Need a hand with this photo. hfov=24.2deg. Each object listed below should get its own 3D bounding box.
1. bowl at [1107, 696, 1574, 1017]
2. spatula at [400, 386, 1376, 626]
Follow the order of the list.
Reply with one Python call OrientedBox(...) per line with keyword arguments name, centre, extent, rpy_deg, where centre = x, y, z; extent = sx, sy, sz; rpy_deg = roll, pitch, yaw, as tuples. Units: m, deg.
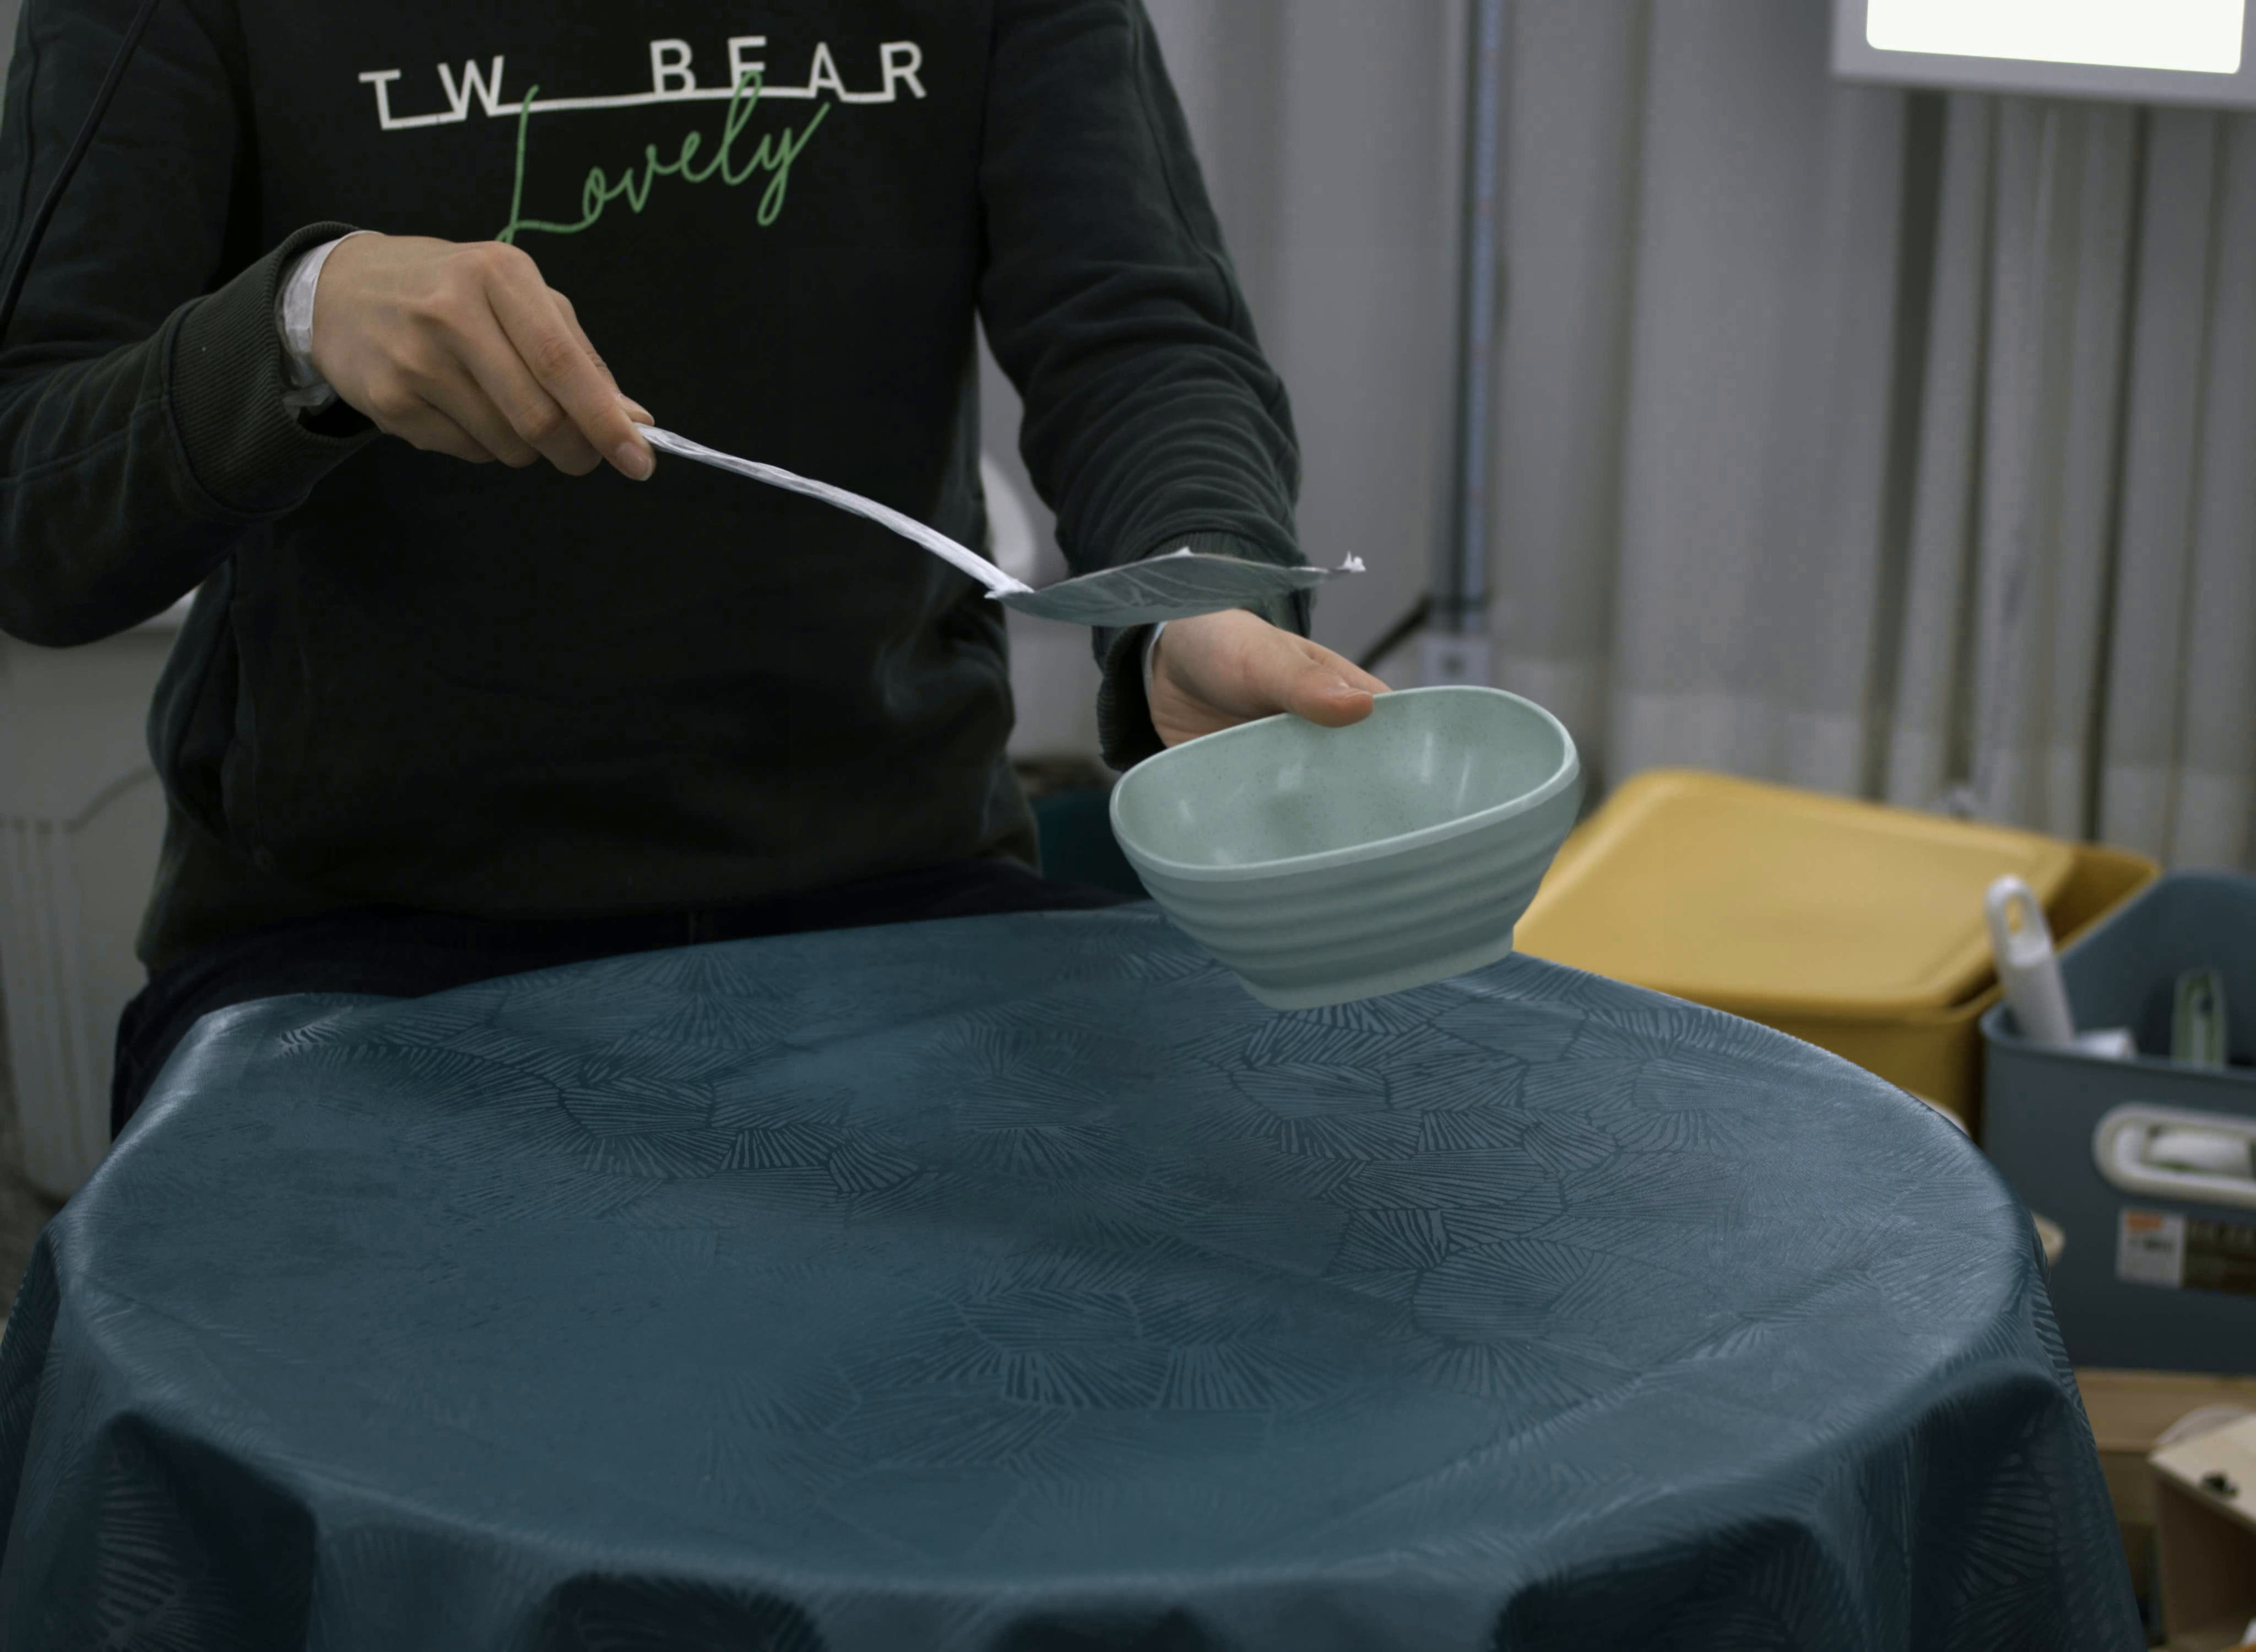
OrientedBox(name="bowl", centre=(0.067, 0.013, 1.586), extent=(0.151, 0.059, 0.150), rpy_deg=(-9, 19, 4))
OrientedBox(name="spatula", centre=(-0.092, -0.107, 1.606), extent=(0.360, 0.045, 0.099), rpy_deg=(20, 13, 31))
